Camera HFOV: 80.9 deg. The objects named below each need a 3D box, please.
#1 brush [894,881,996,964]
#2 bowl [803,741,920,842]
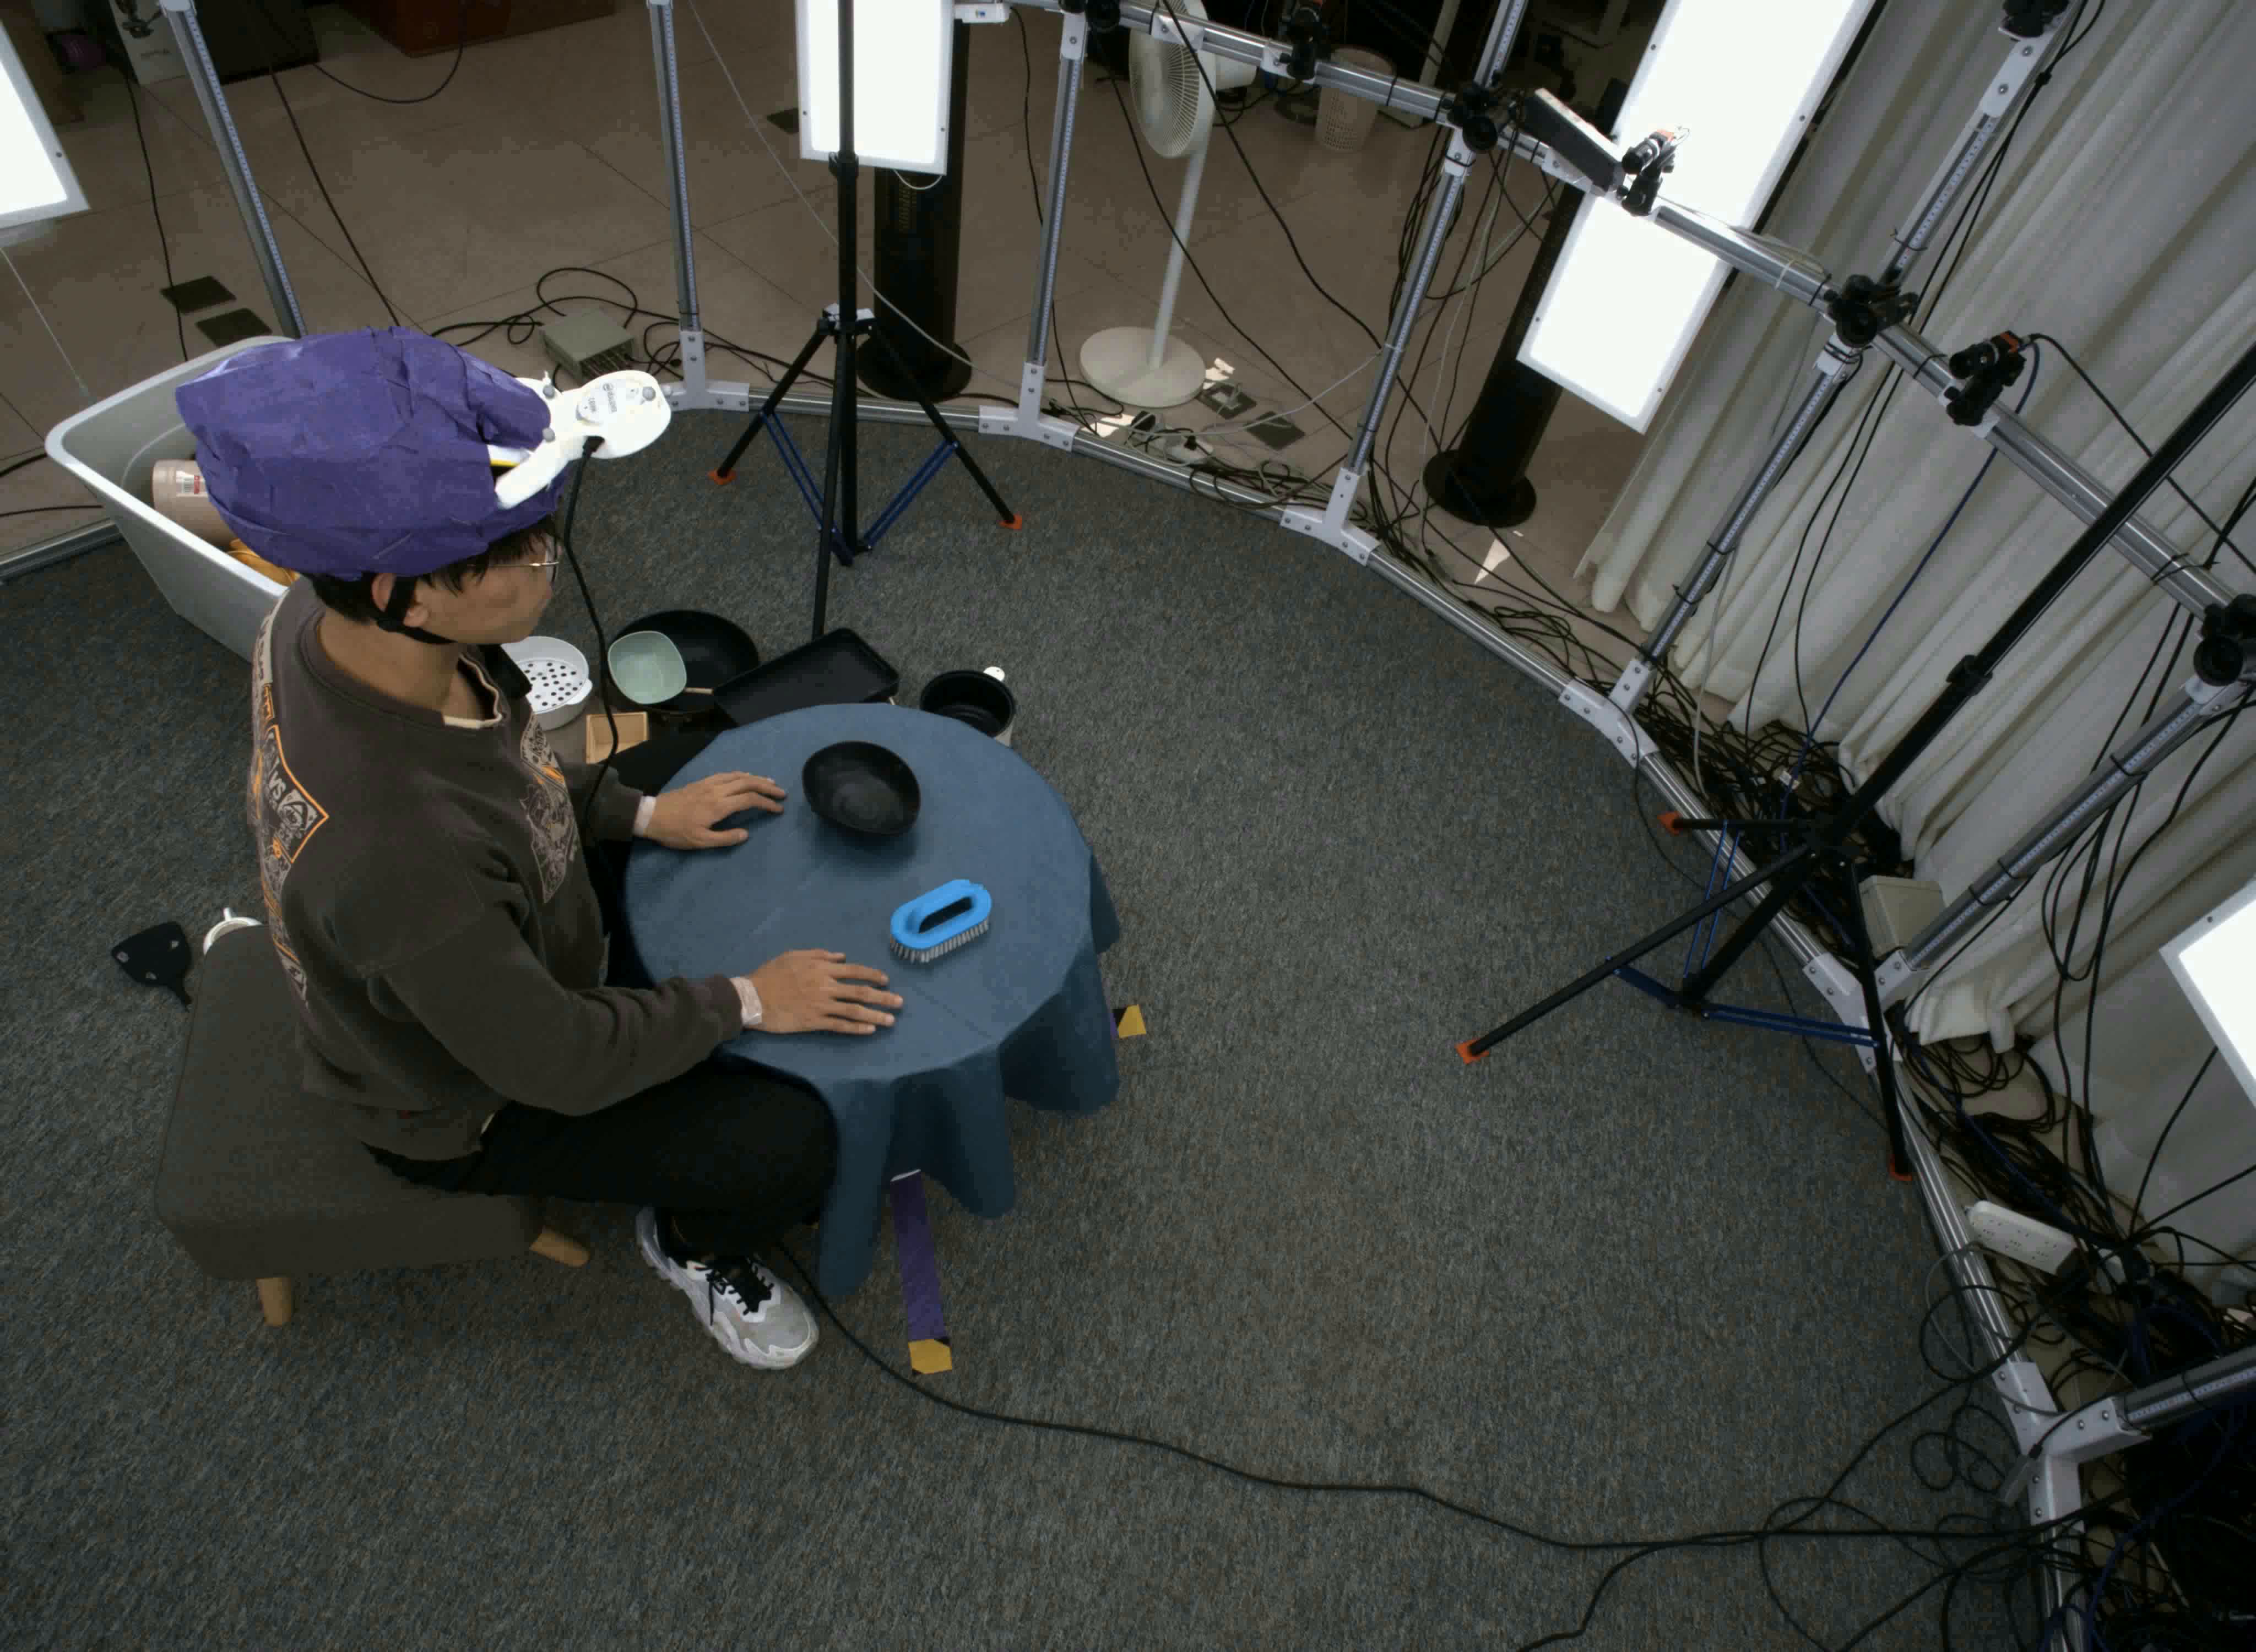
[{"bbox_3d":[-0.234,0.111,1.661,0.142,0.065,0.082,-25,58,-29],"label":"brush"},{"bbox_3d":[-0.355,-0.036,1.741,0.167,0.068,0.137,34,55,10],"label":"bowl"}]
